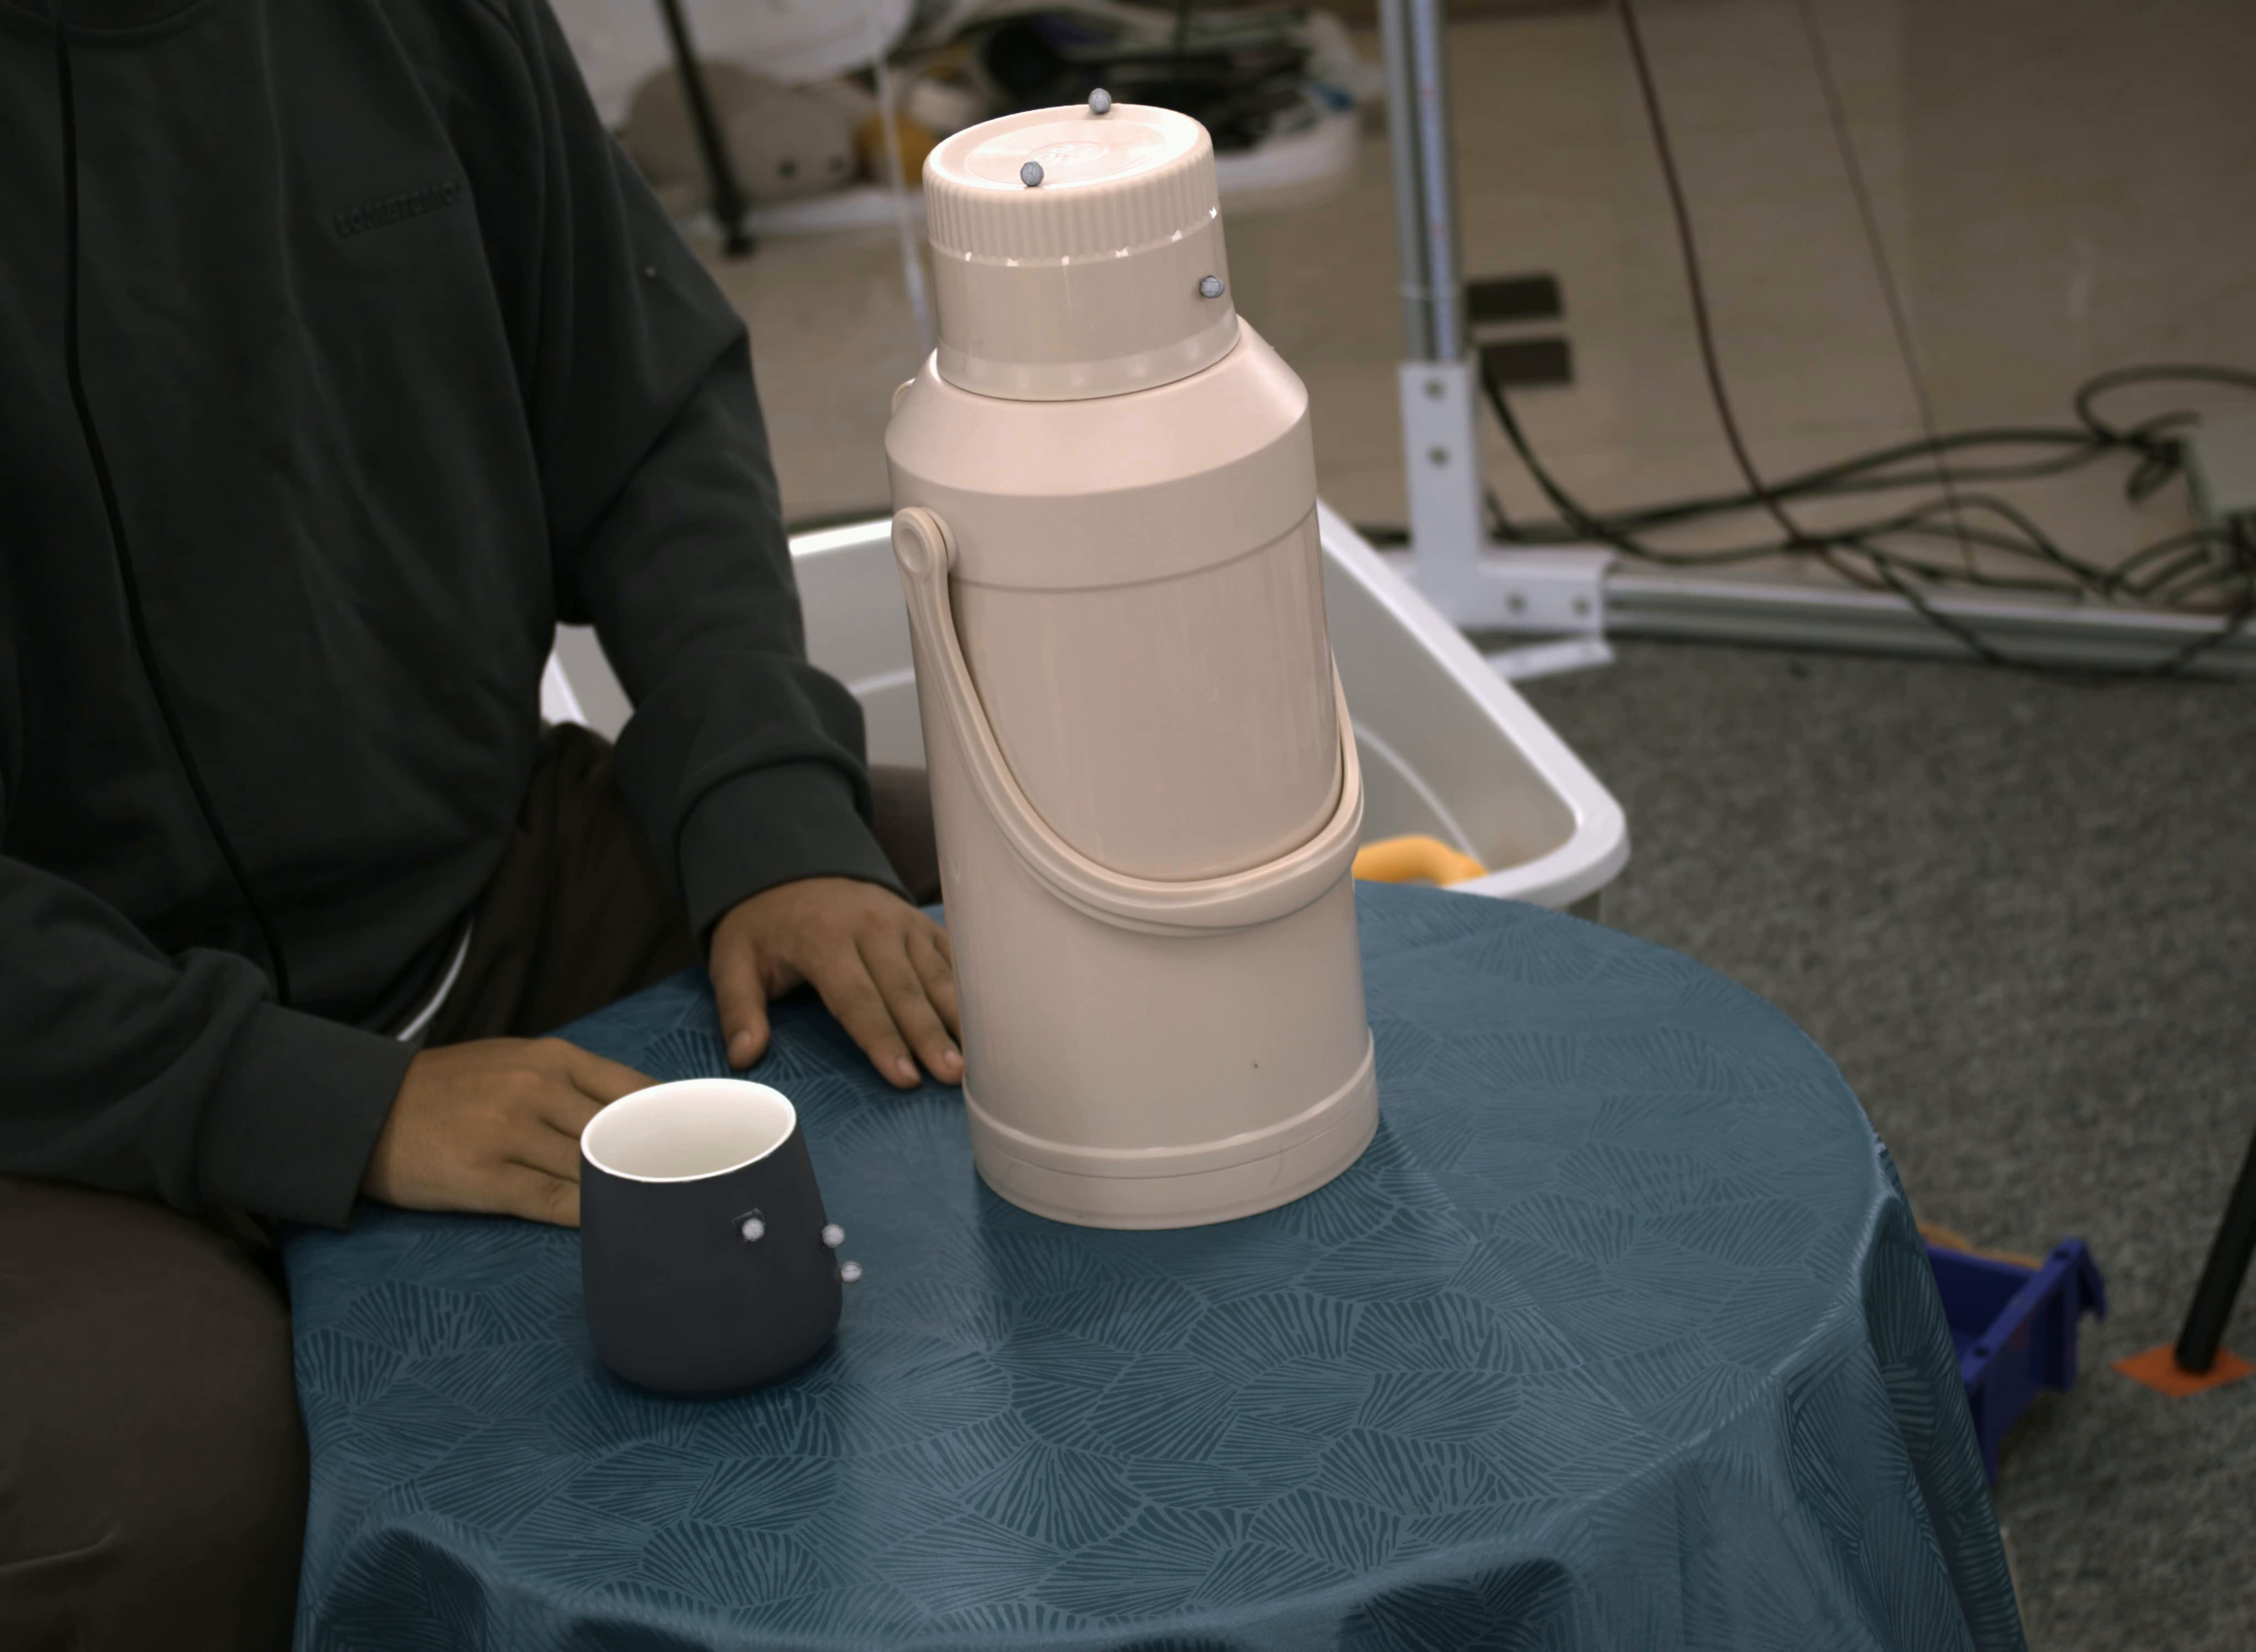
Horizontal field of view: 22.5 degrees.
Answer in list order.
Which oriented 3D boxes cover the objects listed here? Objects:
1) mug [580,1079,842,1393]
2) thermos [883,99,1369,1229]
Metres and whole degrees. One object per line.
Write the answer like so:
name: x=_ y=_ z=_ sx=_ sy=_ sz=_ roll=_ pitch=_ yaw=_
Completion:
mug: x=-0.161 y=0.144 z=2.066 sx=0.093 sy=0.091 sz=0.122 roll=-19 pitch=28 yaw=-25
thermos: x=-0.011 y=-0.065 z=2.113 sx=0.174 sy=0.413 sz=0.205 roll=-24 pitch=31 yaw=-32
